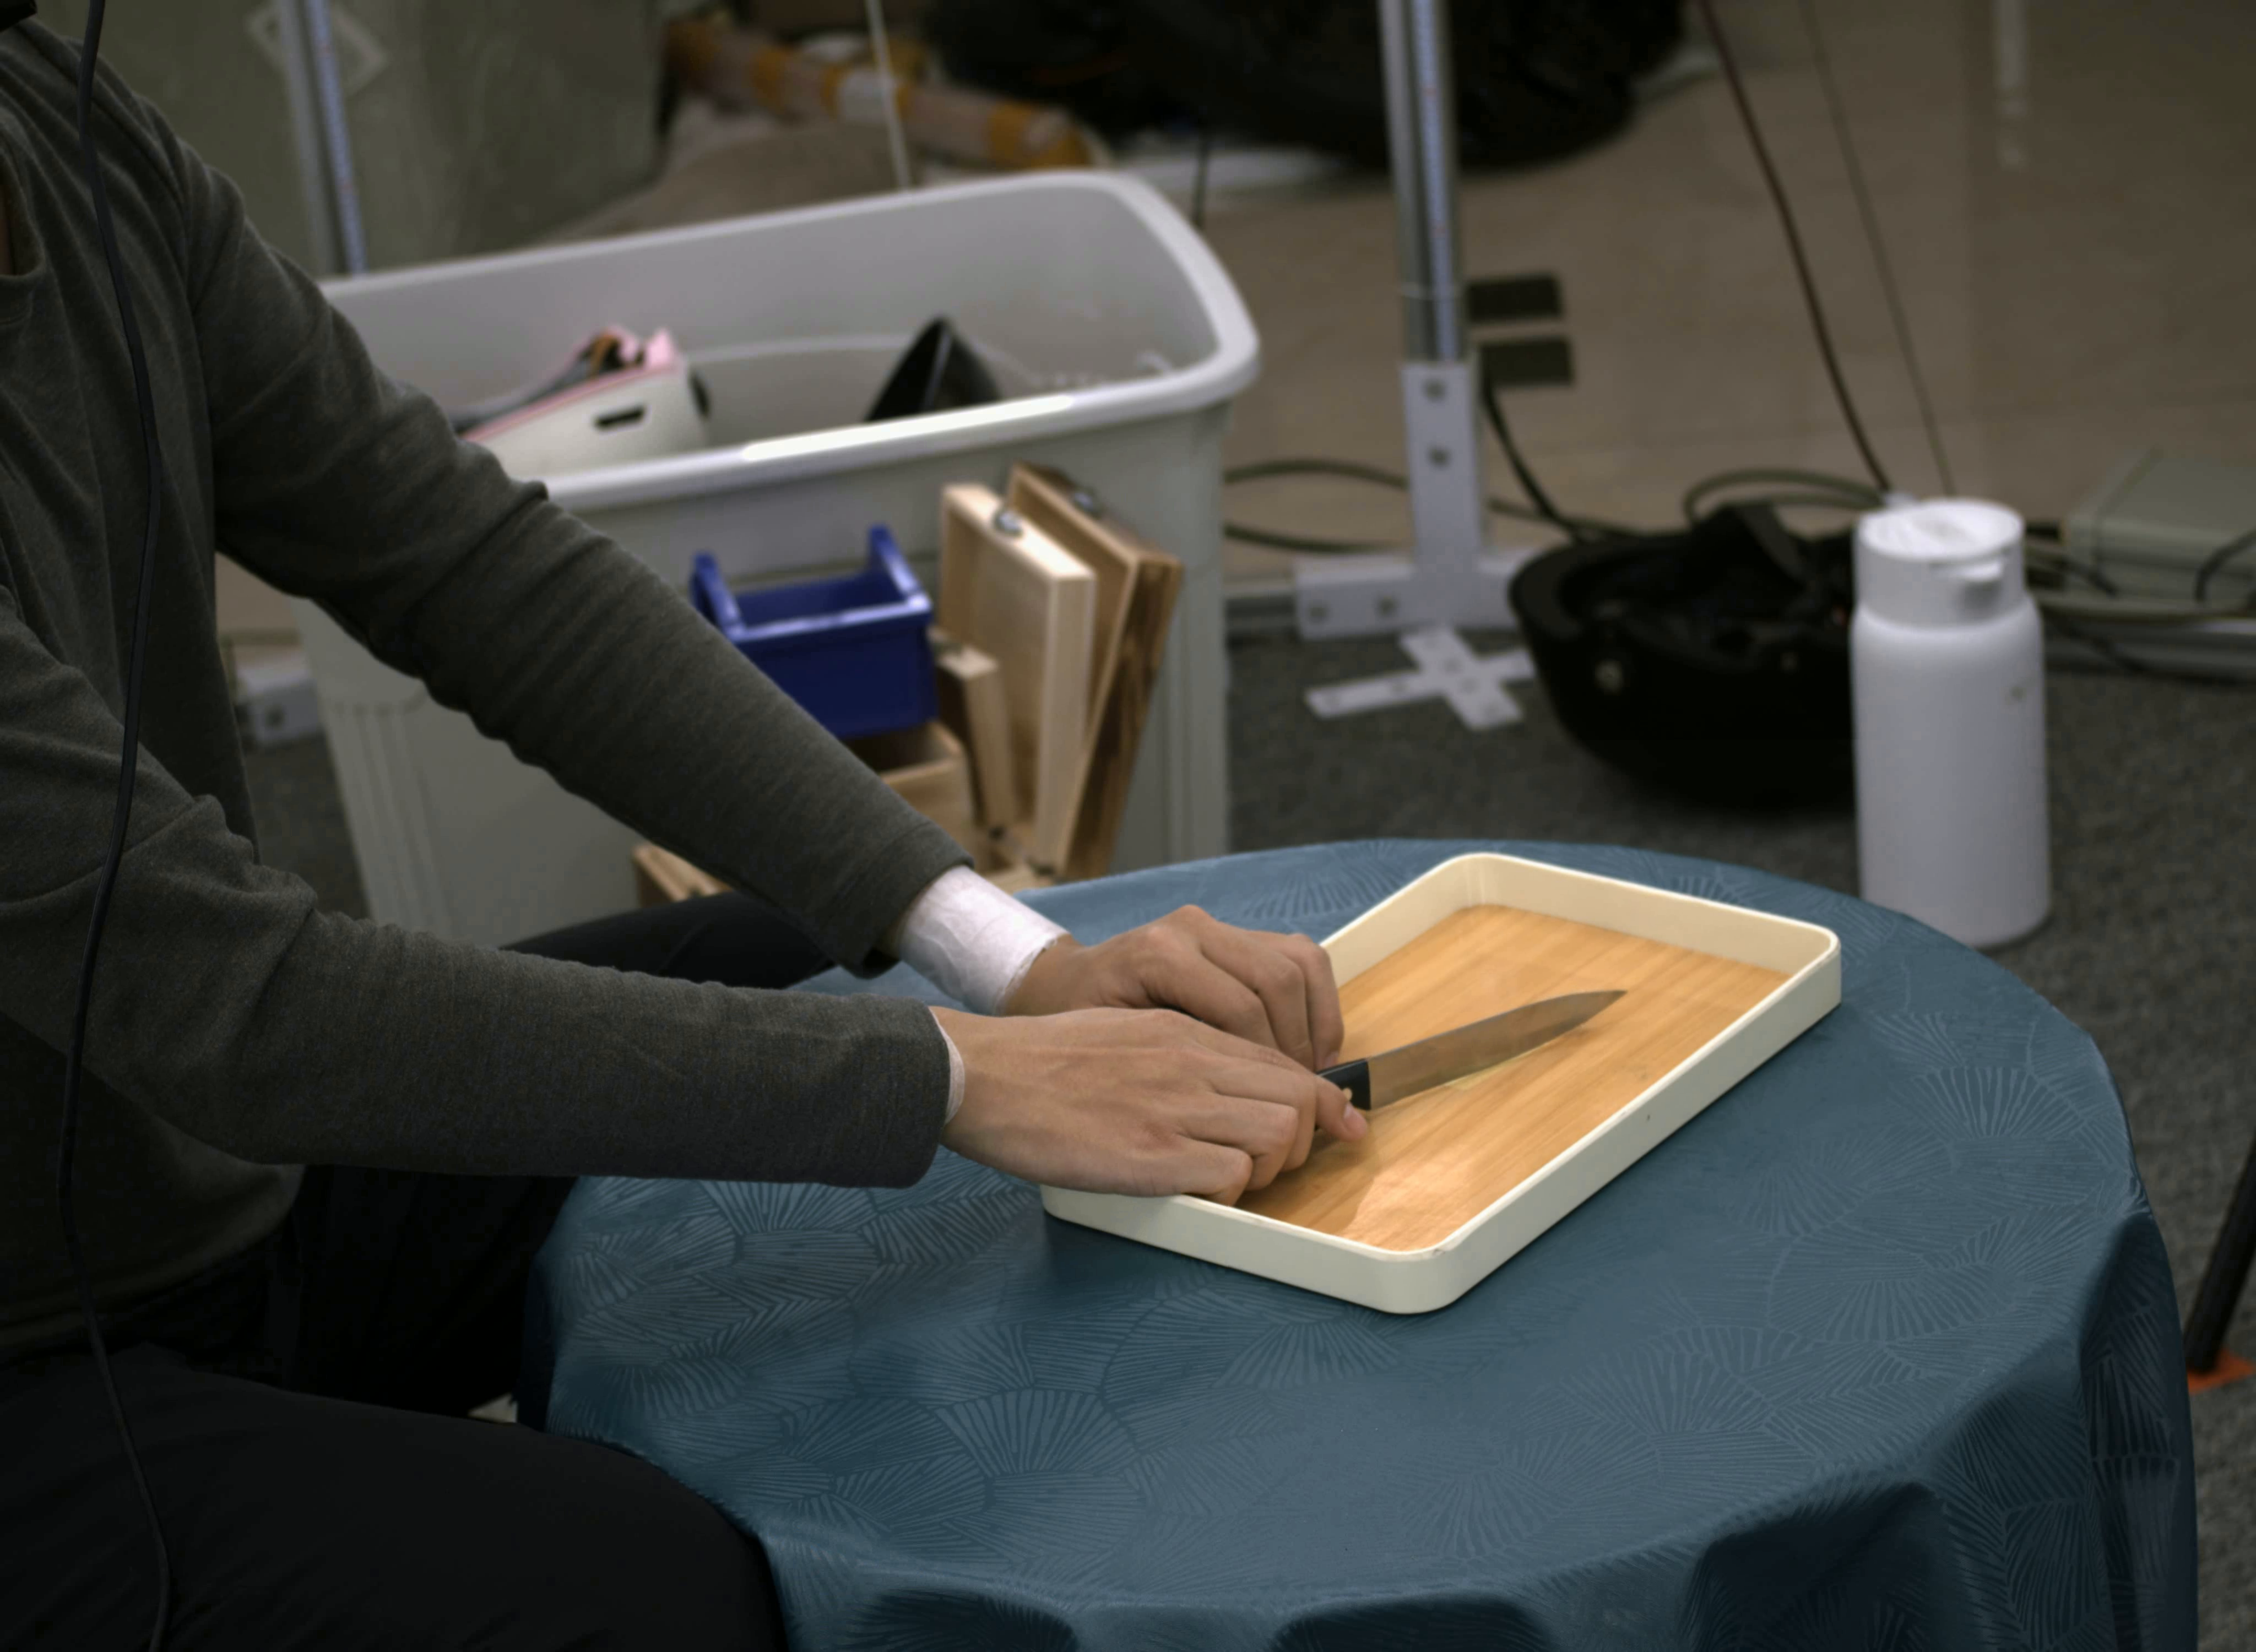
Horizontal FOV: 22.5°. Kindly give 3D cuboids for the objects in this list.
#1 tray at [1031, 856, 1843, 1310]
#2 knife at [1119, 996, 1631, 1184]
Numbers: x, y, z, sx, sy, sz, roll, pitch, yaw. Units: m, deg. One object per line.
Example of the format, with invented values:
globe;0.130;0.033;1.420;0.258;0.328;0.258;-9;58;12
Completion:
tray;0.122;0.094;2.187;0.190;0.028;0.297;13;31;38
knife;0.097;0.095;2.169;0.237;0.025;0.016;-17;27;-29
